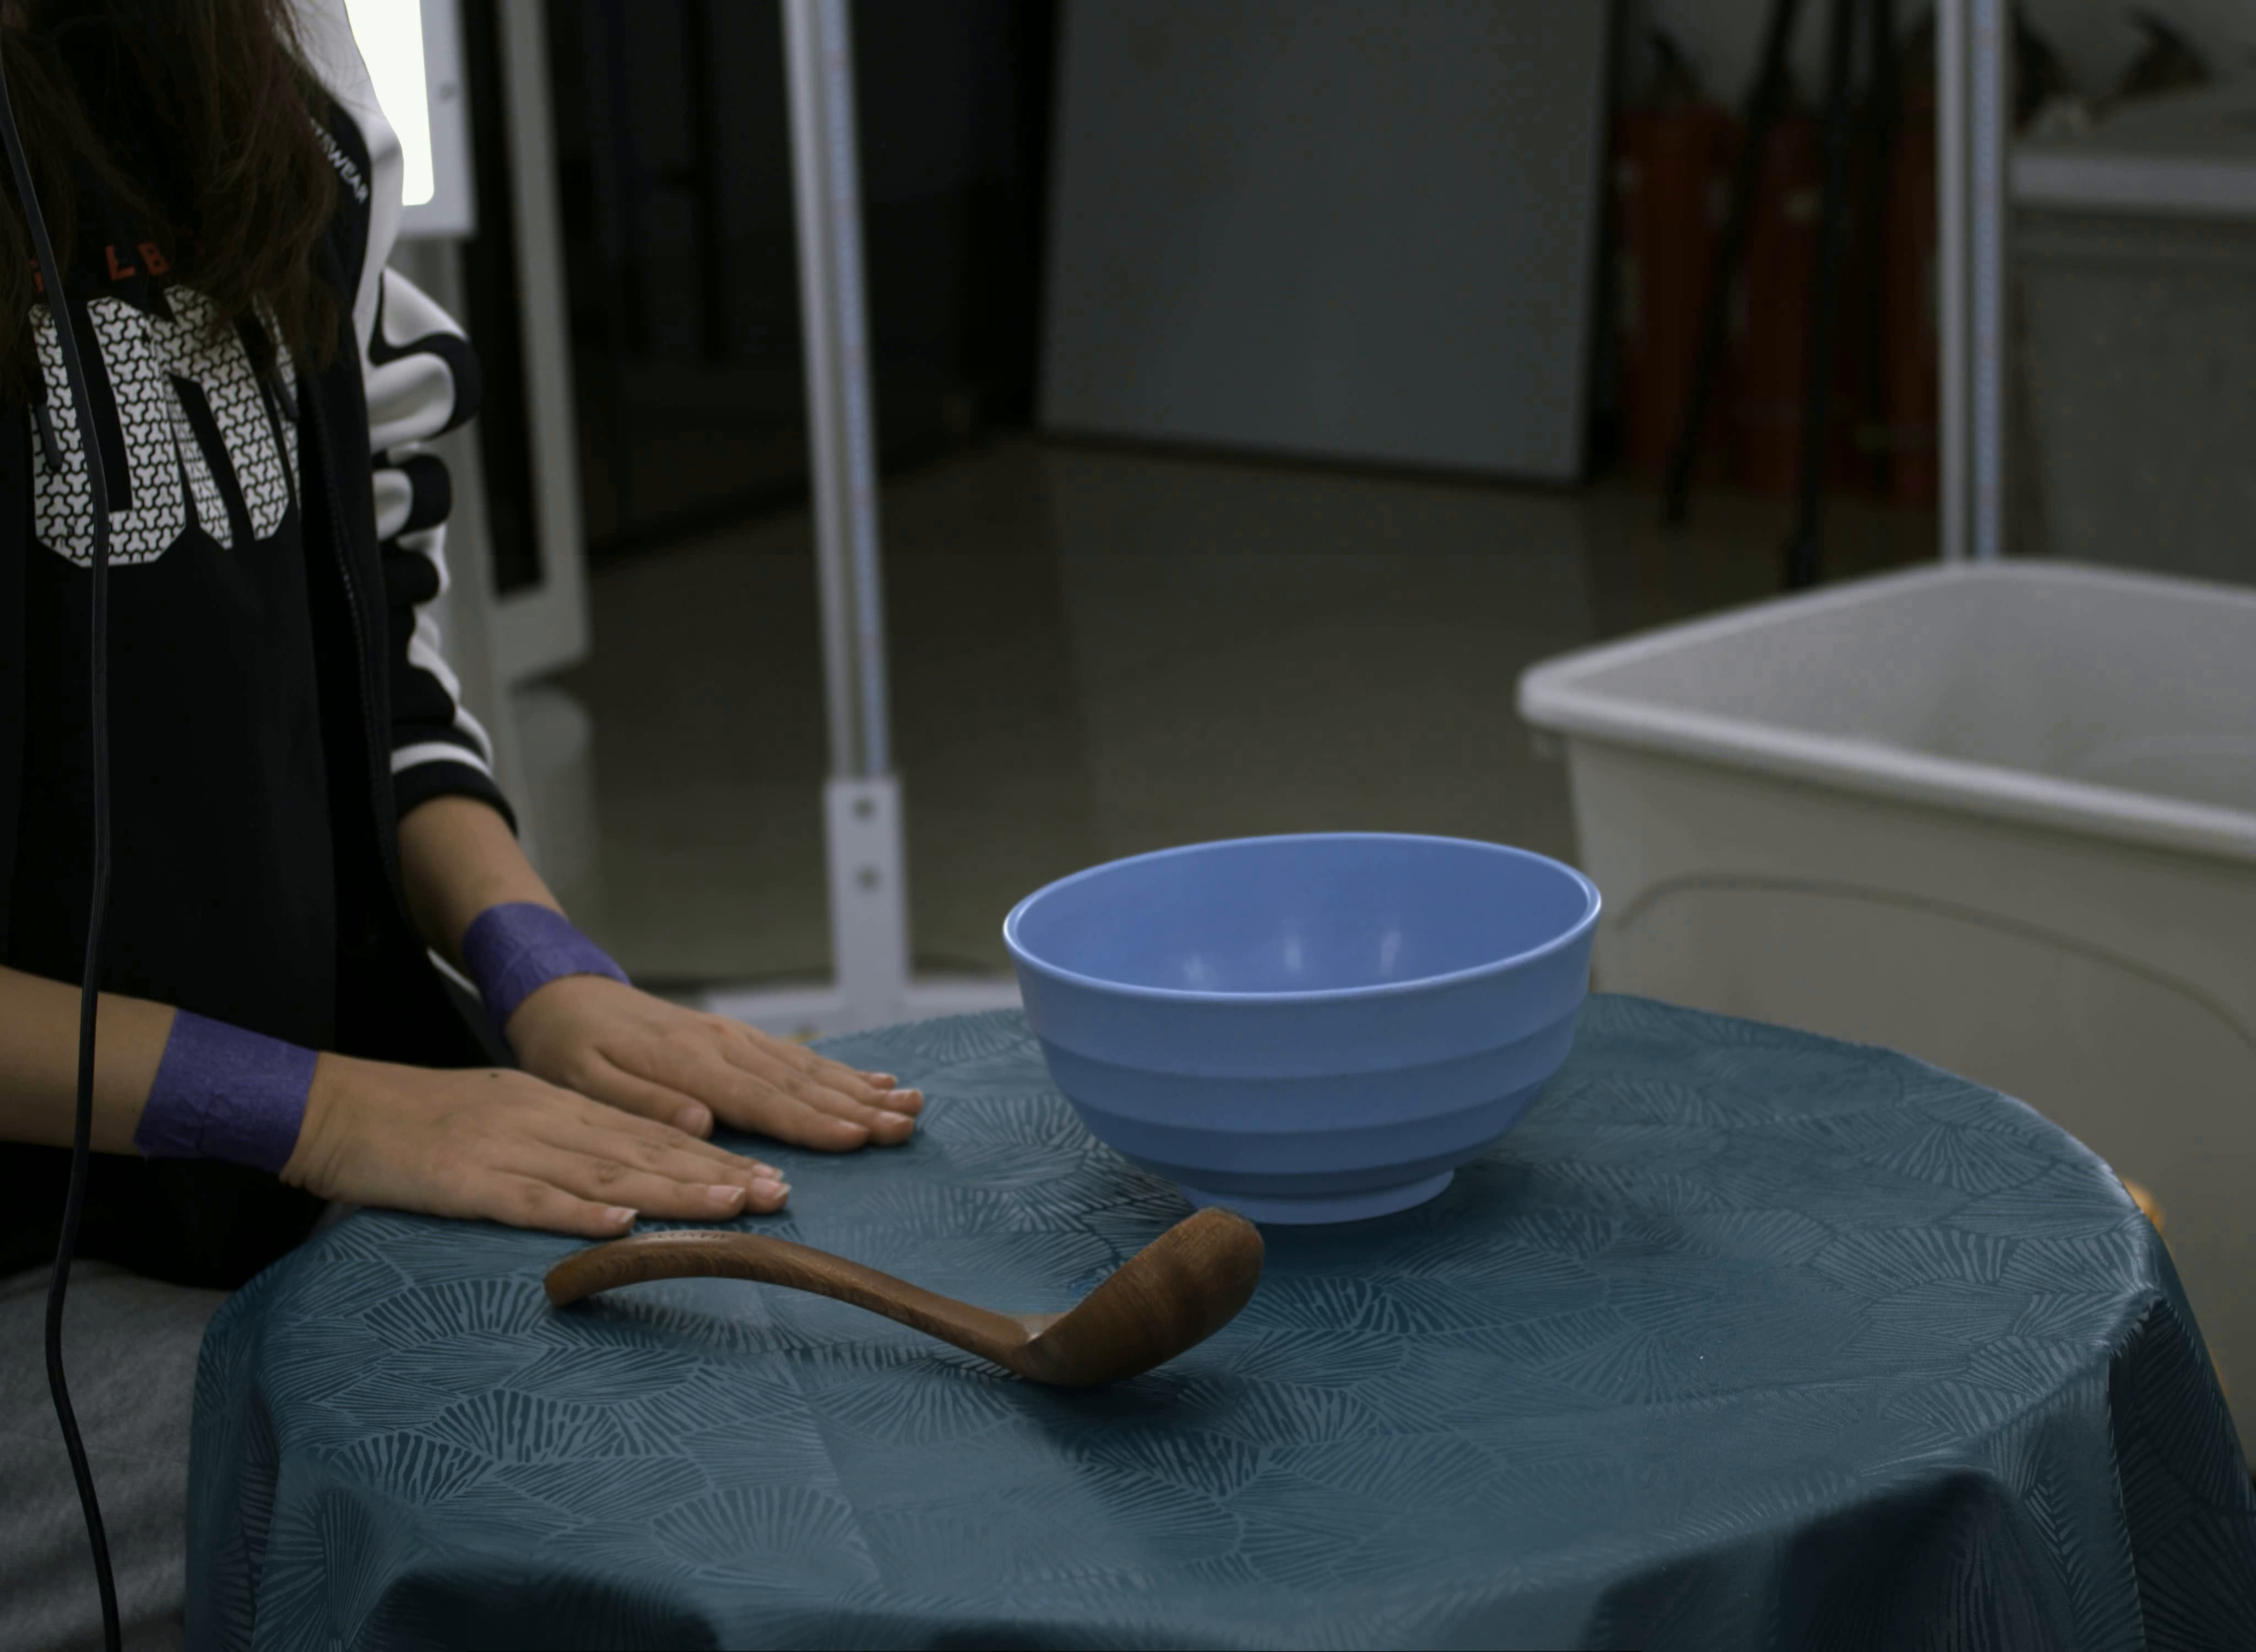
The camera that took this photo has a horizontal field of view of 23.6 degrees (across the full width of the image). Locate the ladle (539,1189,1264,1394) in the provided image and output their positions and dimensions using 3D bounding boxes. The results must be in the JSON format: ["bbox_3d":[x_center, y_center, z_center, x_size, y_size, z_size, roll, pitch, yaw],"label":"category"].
[{"bbox_3d":[-0.074,0.129,1.626,0.261,0.066,0.075,5,10,34],"label":"ladle"}]

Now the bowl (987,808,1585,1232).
[{"bbox_3d":[0.054,0.071,1.763,0.194,0.096,0.197,-4,20,1],"label":"bowl"}]
